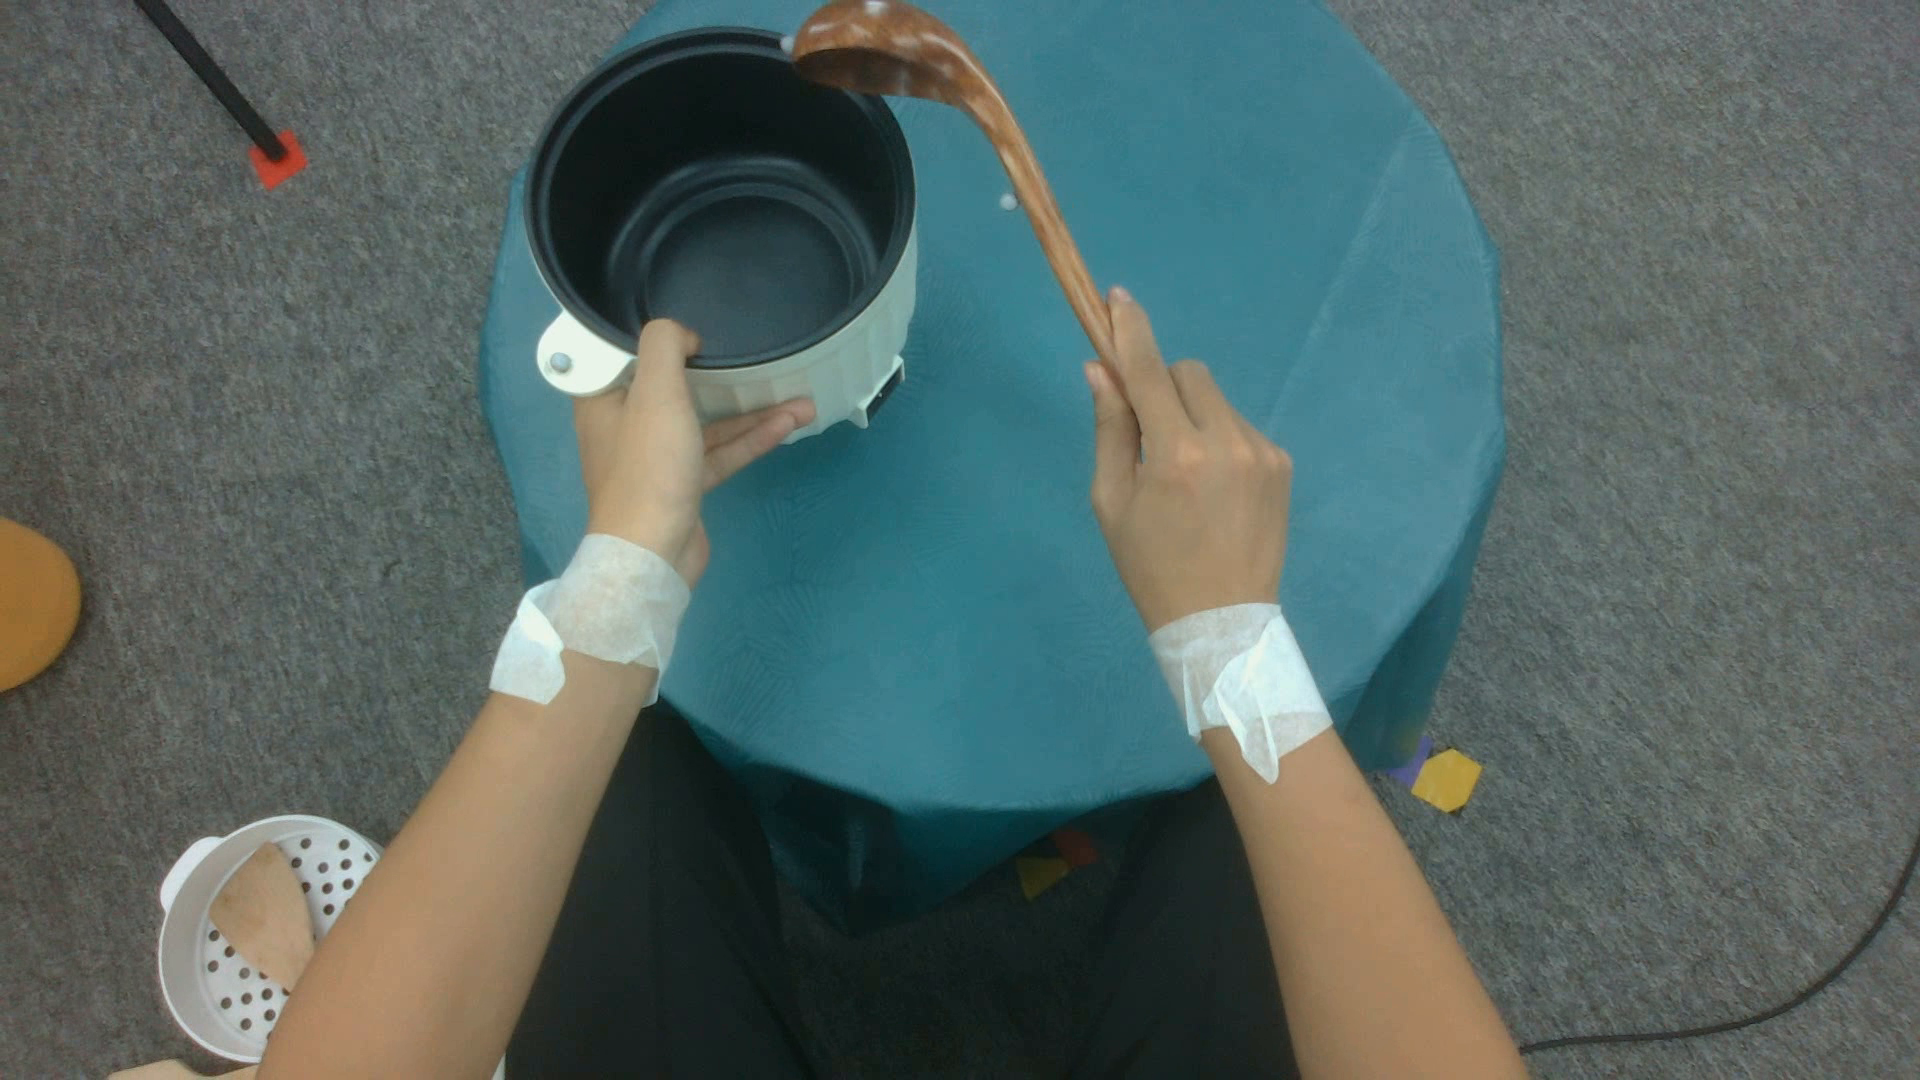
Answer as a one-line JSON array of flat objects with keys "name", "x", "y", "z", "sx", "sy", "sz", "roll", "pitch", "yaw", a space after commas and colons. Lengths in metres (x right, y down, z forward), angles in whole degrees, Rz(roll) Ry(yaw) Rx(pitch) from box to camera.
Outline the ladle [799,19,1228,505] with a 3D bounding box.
[{"name": "ladle", "x": 0.021, "y": -0.120, "z": 0.627, "sx": 0.076, "sy": 0.082, "sz": 0.274, "roll": -30, "pitch": 90, "yaw": 15}]

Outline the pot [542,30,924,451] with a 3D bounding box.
[{"name": "pot", "x": -0.114, "y": -0.143, "z": 0.719, "sx": 0.190, "sy": 0.142, "sz": 0.241, "roll": 34, "pitch": 73, "yaw": 7}]
